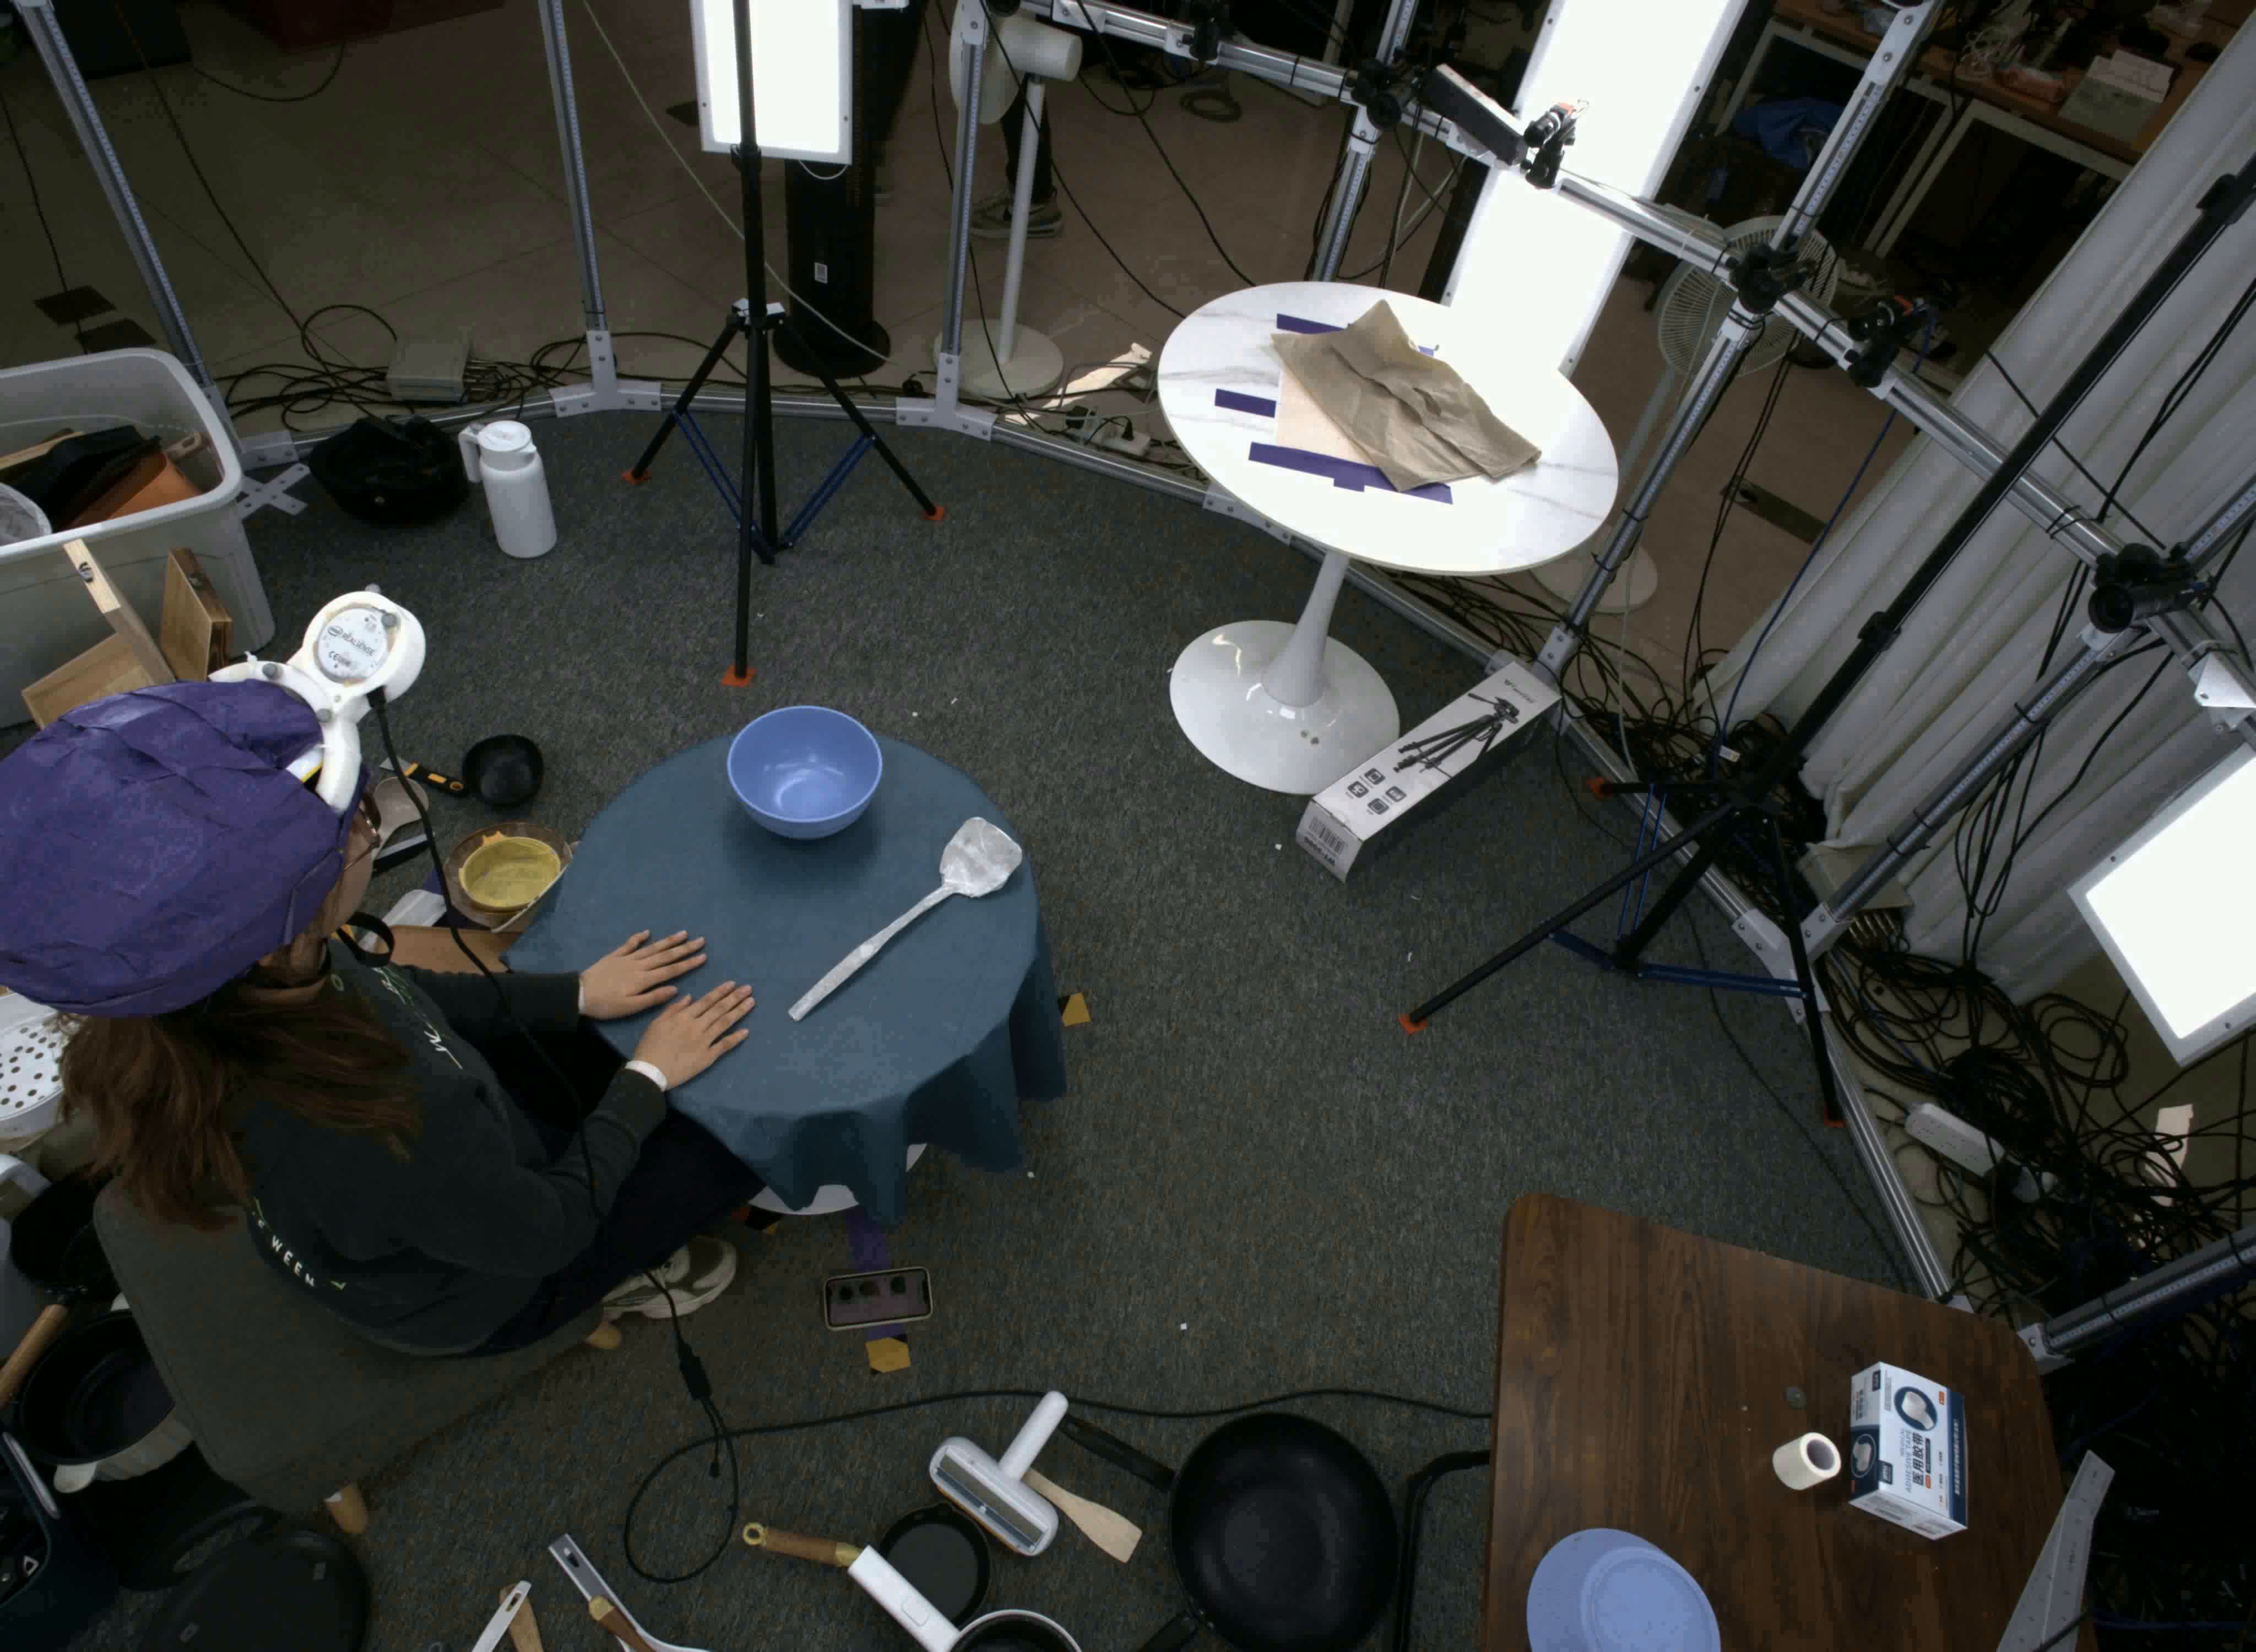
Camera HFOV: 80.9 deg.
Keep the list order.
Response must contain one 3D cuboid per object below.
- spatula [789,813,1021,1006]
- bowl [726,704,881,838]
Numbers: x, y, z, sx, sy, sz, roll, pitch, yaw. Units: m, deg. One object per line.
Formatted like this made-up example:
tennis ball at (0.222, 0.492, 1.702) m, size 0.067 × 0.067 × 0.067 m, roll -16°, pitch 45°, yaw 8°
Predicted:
spatula at (-0.285, 0.112, 1.657) m, size 0.097 × 0.045 × 0.365 m, roll 40°, pitch 54°, yaw 14°
bowl at (-0.426, -0.057, 1.708) m, size 0.196 × 0.097 × 0.193 m, roll 9°, pitch 50°, yaw -9°
